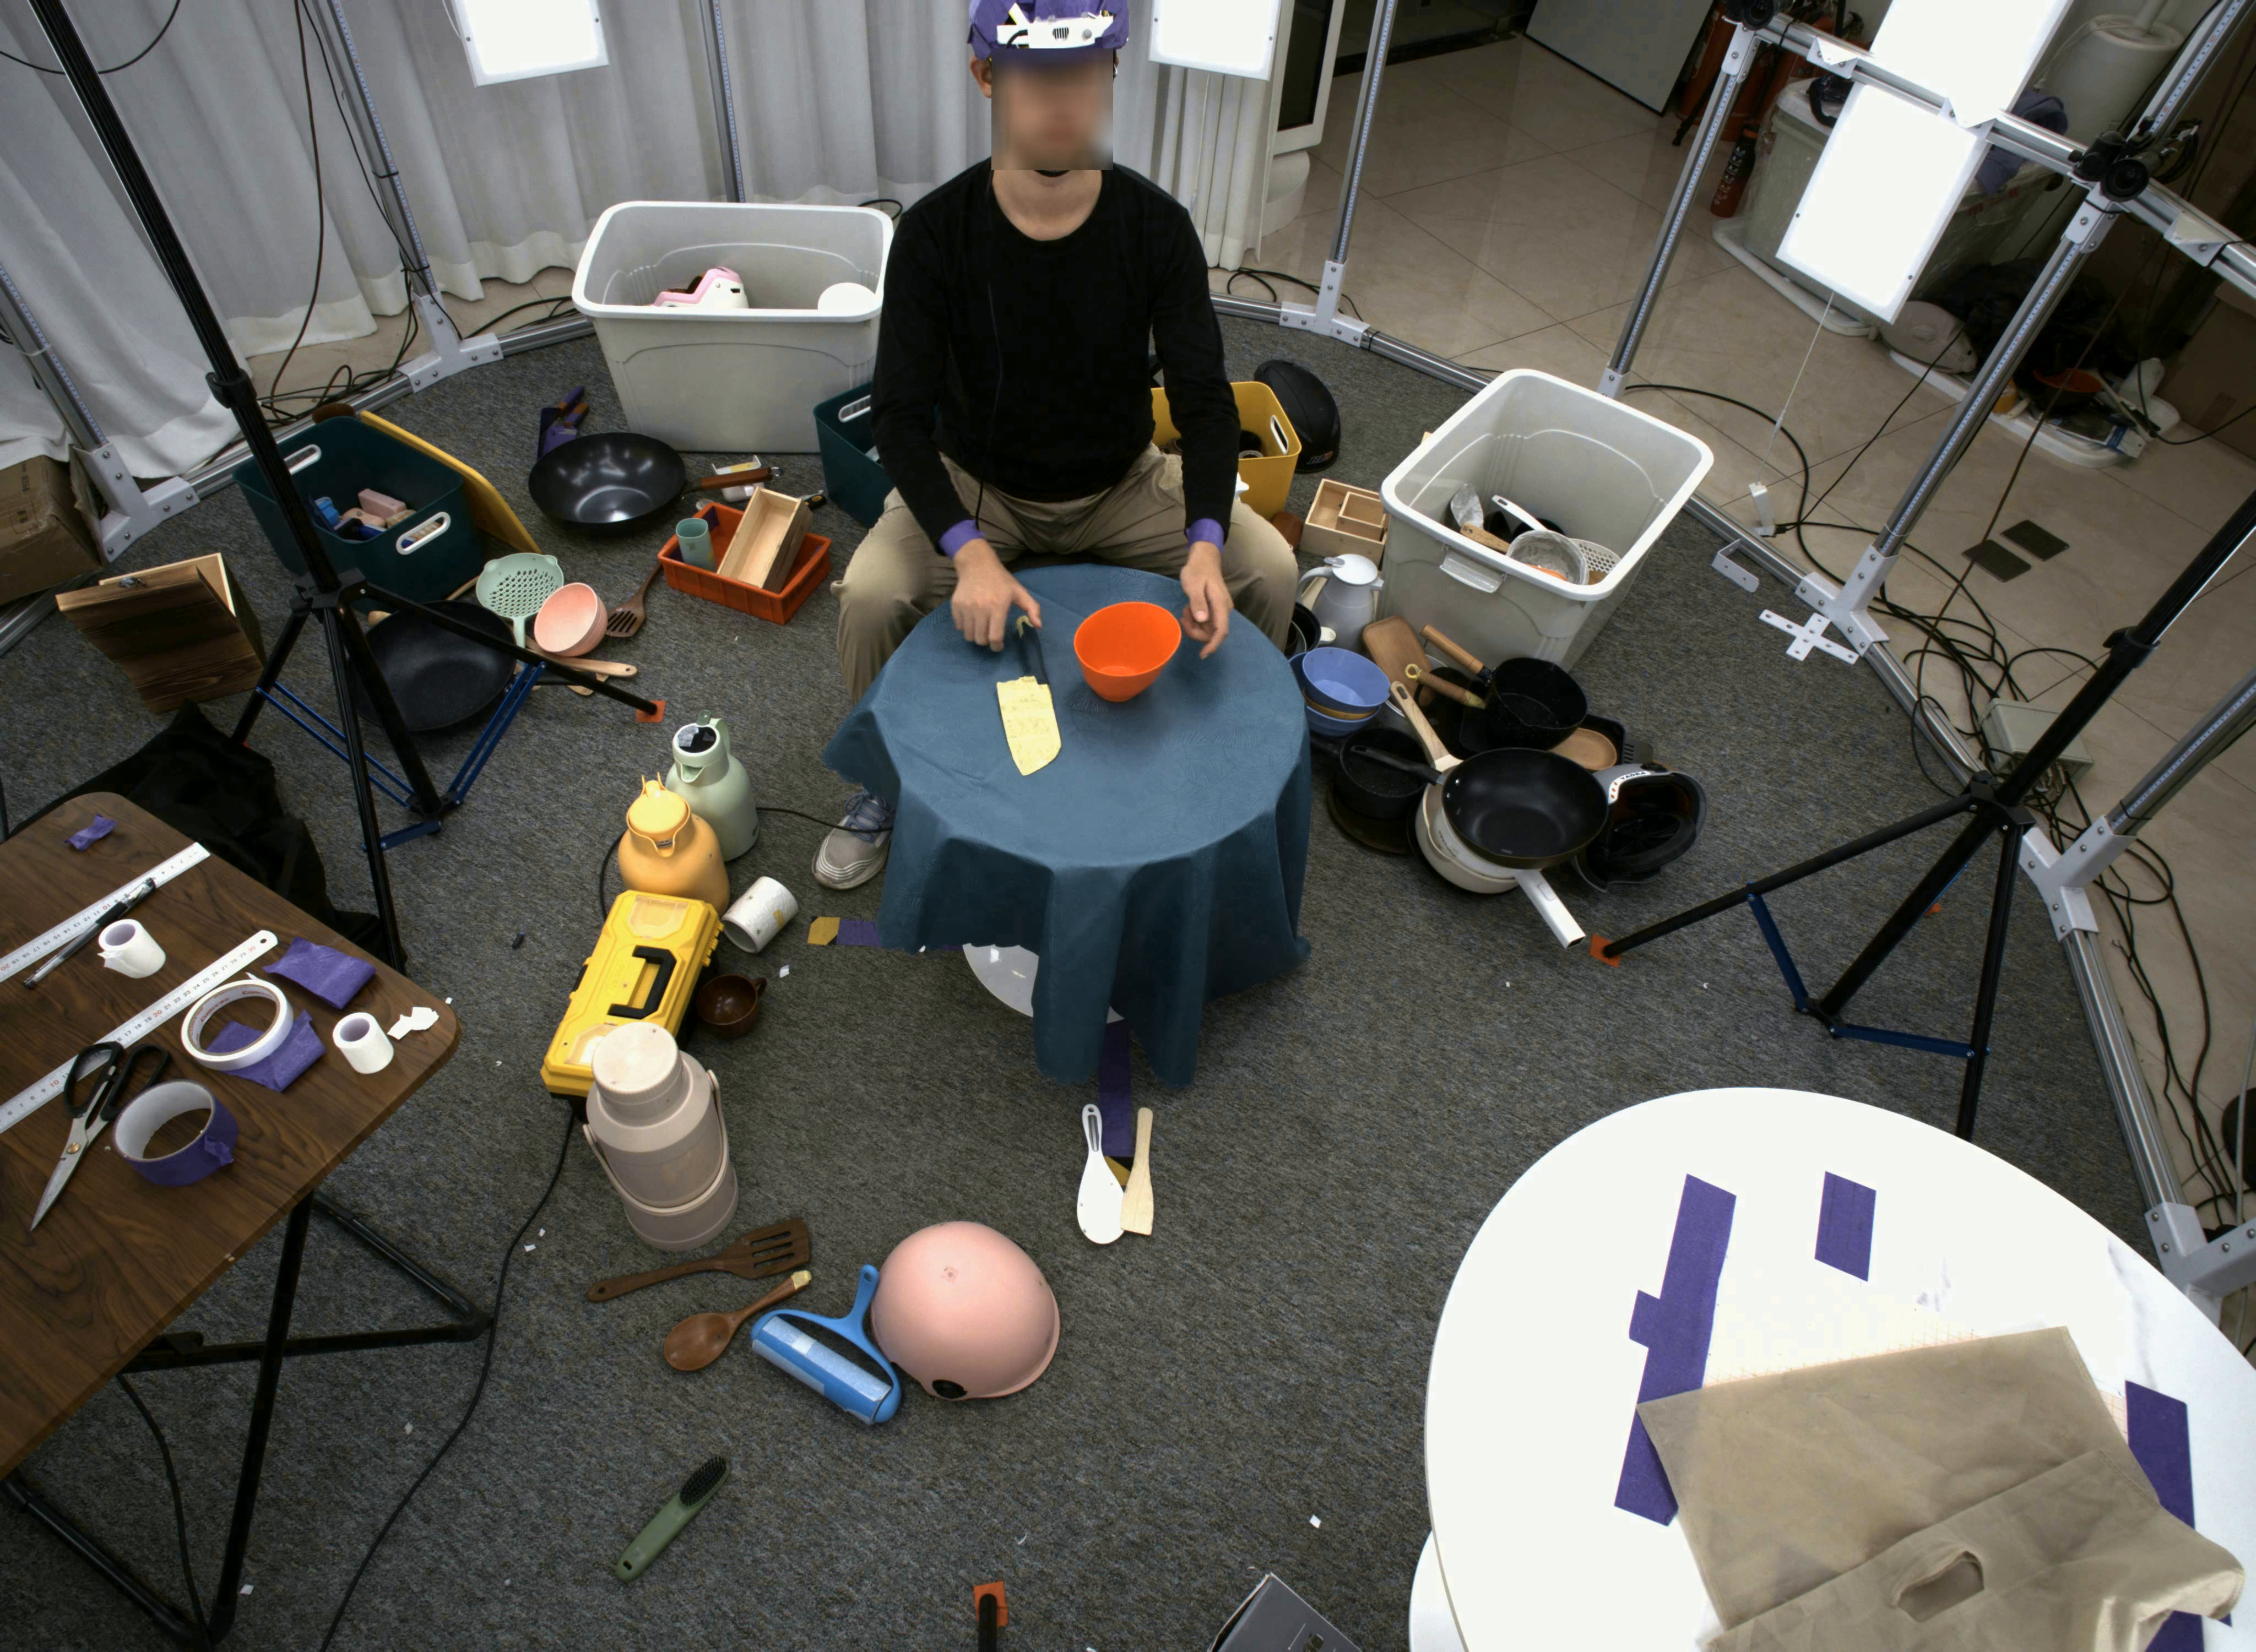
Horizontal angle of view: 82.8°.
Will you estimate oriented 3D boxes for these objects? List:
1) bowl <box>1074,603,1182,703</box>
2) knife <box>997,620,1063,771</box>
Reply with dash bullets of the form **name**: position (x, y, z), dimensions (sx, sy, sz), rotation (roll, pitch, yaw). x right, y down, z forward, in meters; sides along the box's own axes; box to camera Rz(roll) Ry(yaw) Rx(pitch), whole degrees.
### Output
- **bowl**: position (-0.002, -0.233, 1.805), dimensions (0.148, 0.102, 0.152), rotation (1, 51, -2)
- **knife**: position (-0.143, -0.187, 1.814), dimensions (0.081, 0.026, 0.297), rotation (-4, 50, -8)
